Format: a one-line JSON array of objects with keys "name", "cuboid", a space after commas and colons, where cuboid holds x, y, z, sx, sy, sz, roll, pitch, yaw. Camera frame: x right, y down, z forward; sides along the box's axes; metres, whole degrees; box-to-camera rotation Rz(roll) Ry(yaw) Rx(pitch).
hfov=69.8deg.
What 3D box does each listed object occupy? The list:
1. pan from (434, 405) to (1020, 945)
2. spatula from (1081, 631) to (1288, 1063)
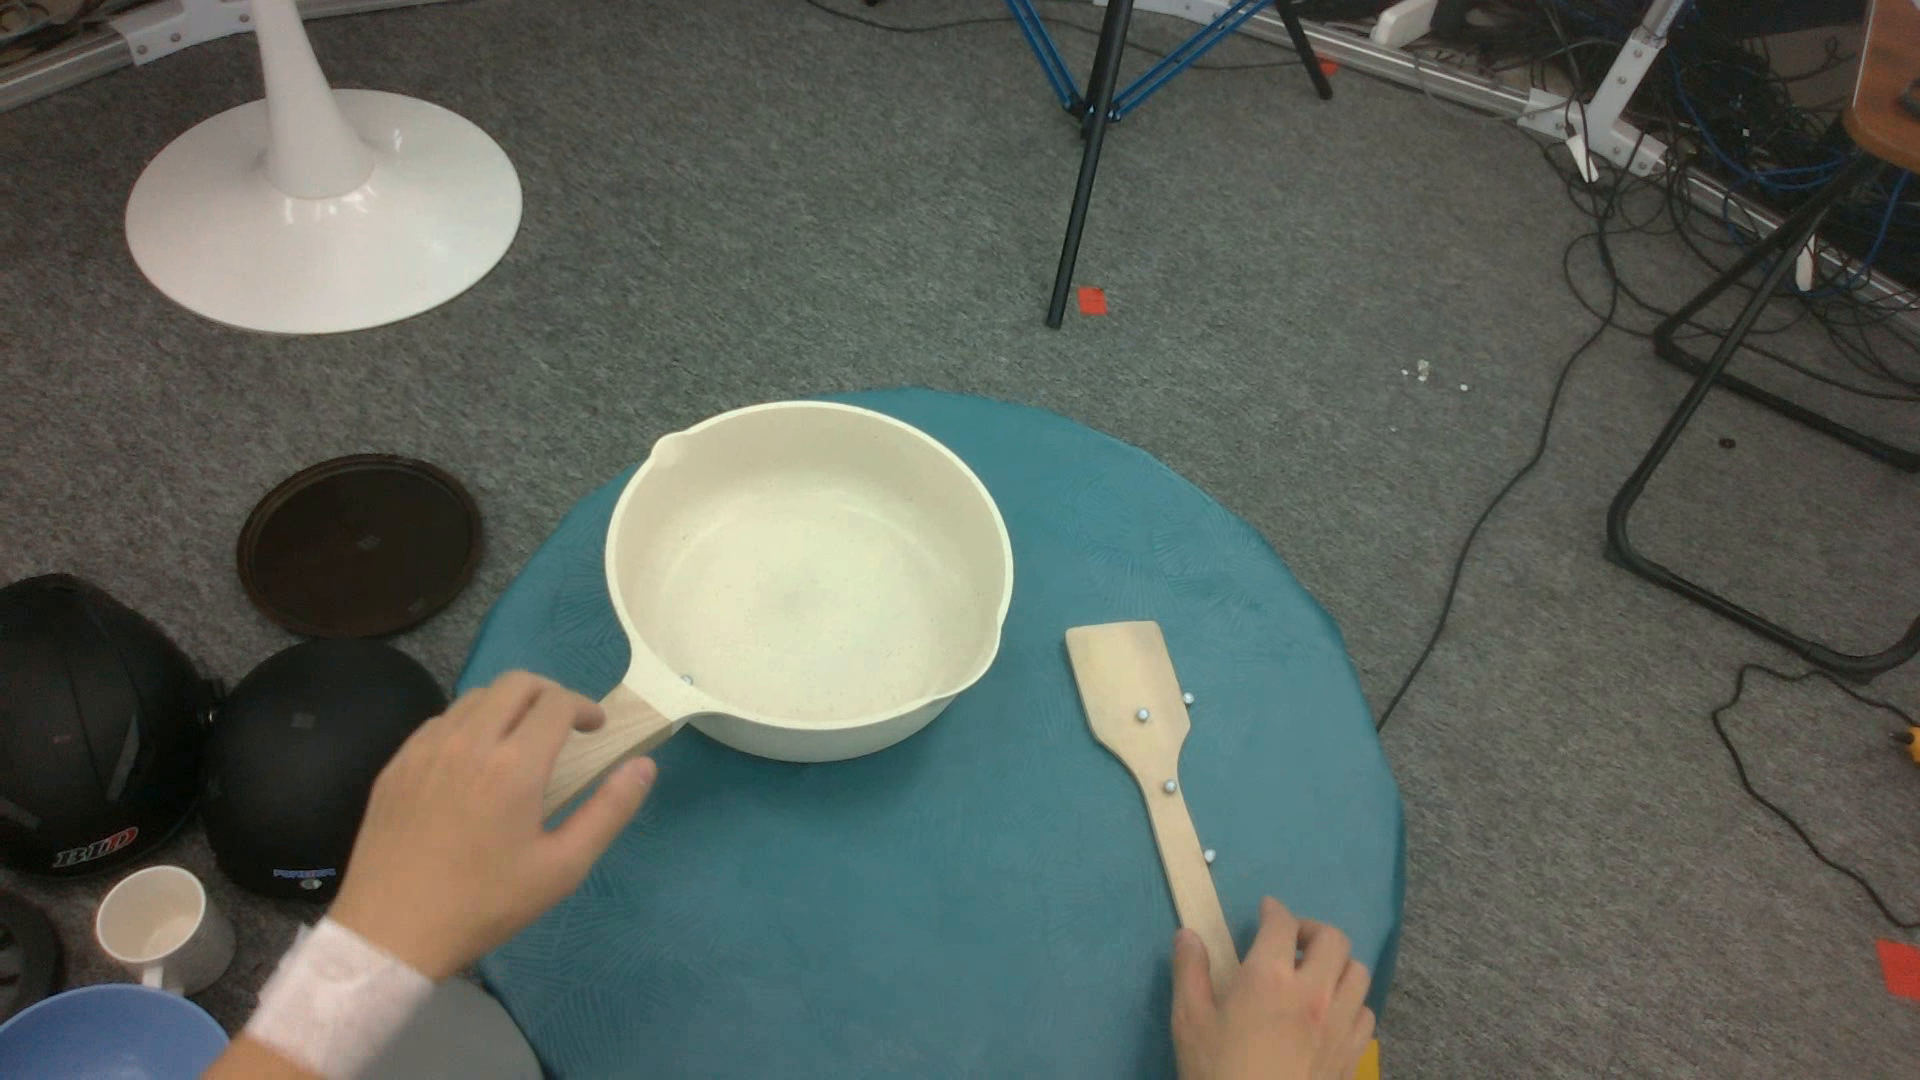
[{"name": "pan", "cuboid": [-0.142, 0.086, 0.842, 0.263, 0.101, 0.437, 33, 56, 14]}, {"name": "spatula", "cuboid": [0.147, 0.182, 0.871, 0.072, 0.010, 0.294, -5, 54, -14]}]
